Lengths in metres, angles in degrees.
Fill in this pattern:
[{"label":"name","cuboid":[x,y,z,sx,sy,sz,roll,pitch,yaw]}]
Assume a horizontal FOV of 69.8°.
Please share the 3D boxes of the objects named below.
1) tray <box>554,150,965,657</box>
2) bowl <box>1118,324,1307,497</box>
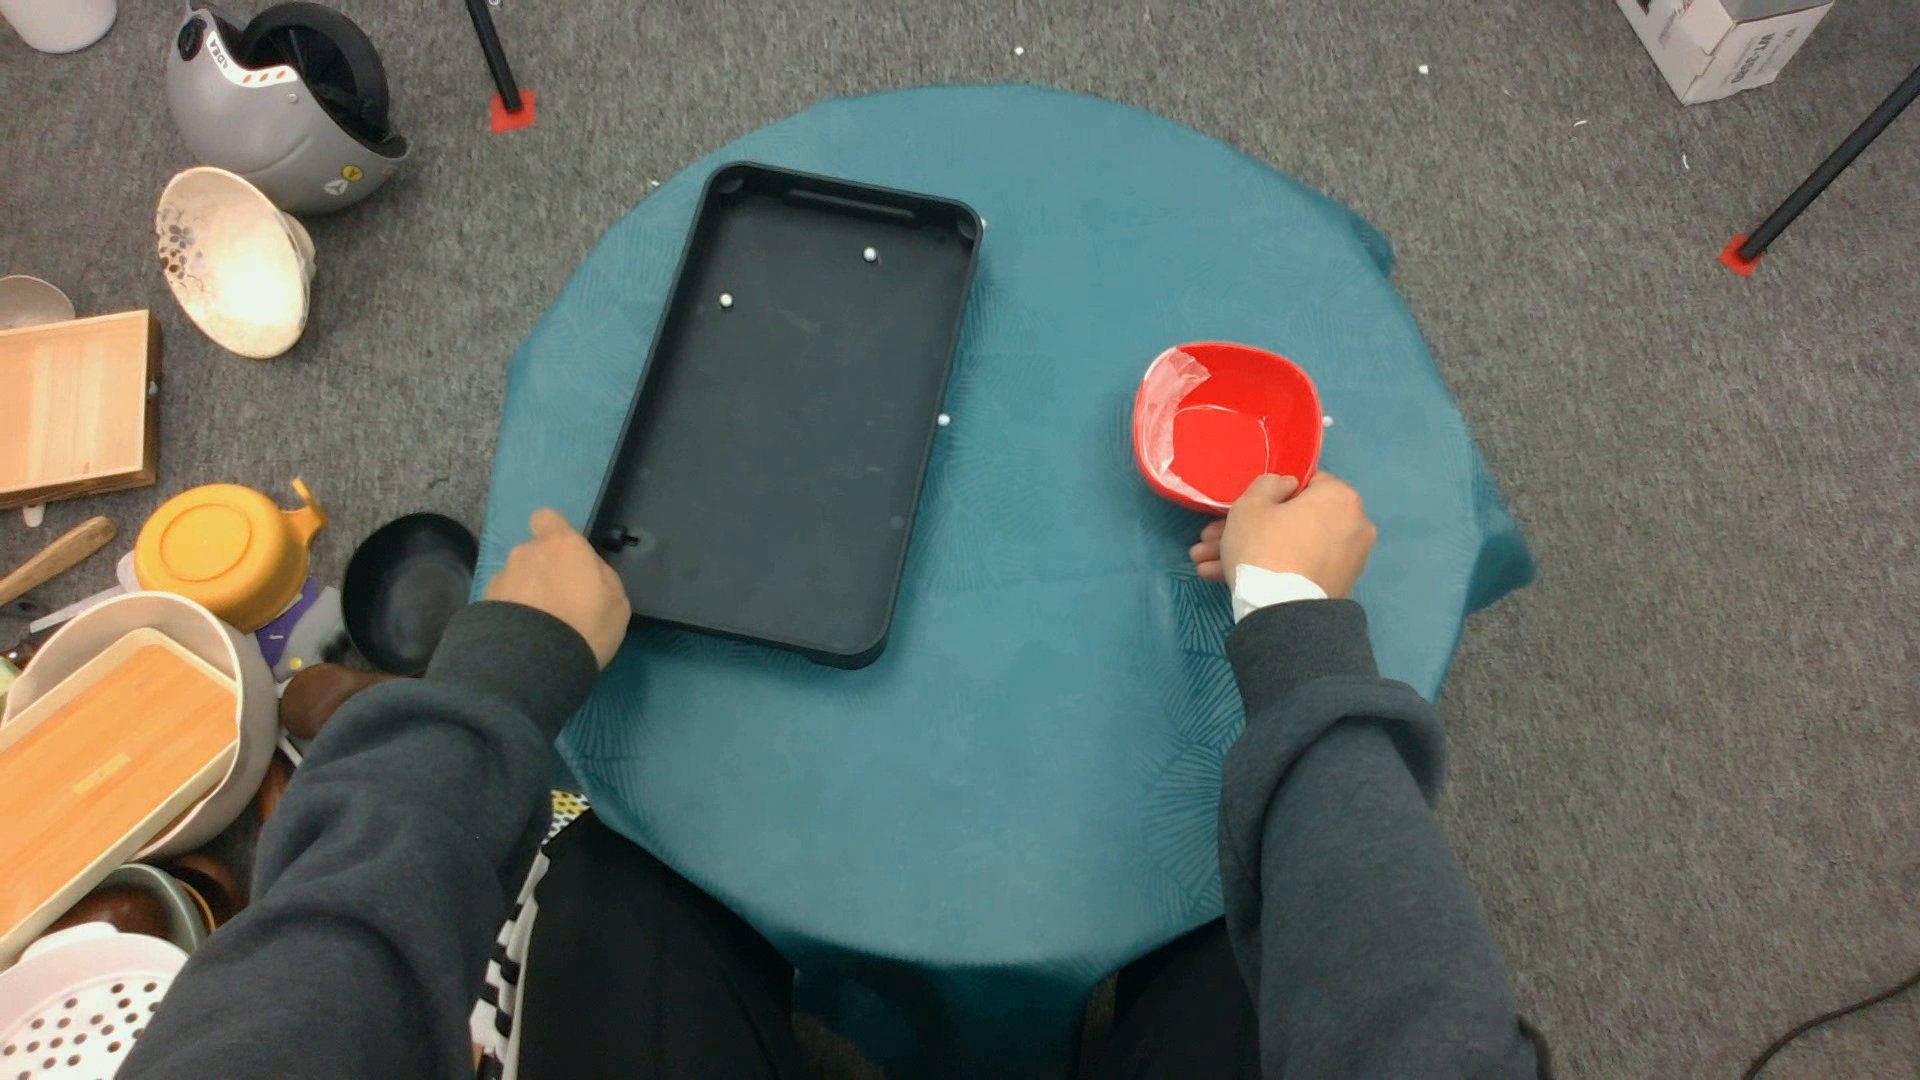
[{"label":"tray","cuboid":[-0.112,-0.092,0.837,0.184,0.037,0.319,10,66,3]},{"label":"bowl","cuboid":[0.147,-0.069,0.825,0.119,0.051,0.119,1,65,-1]}]
